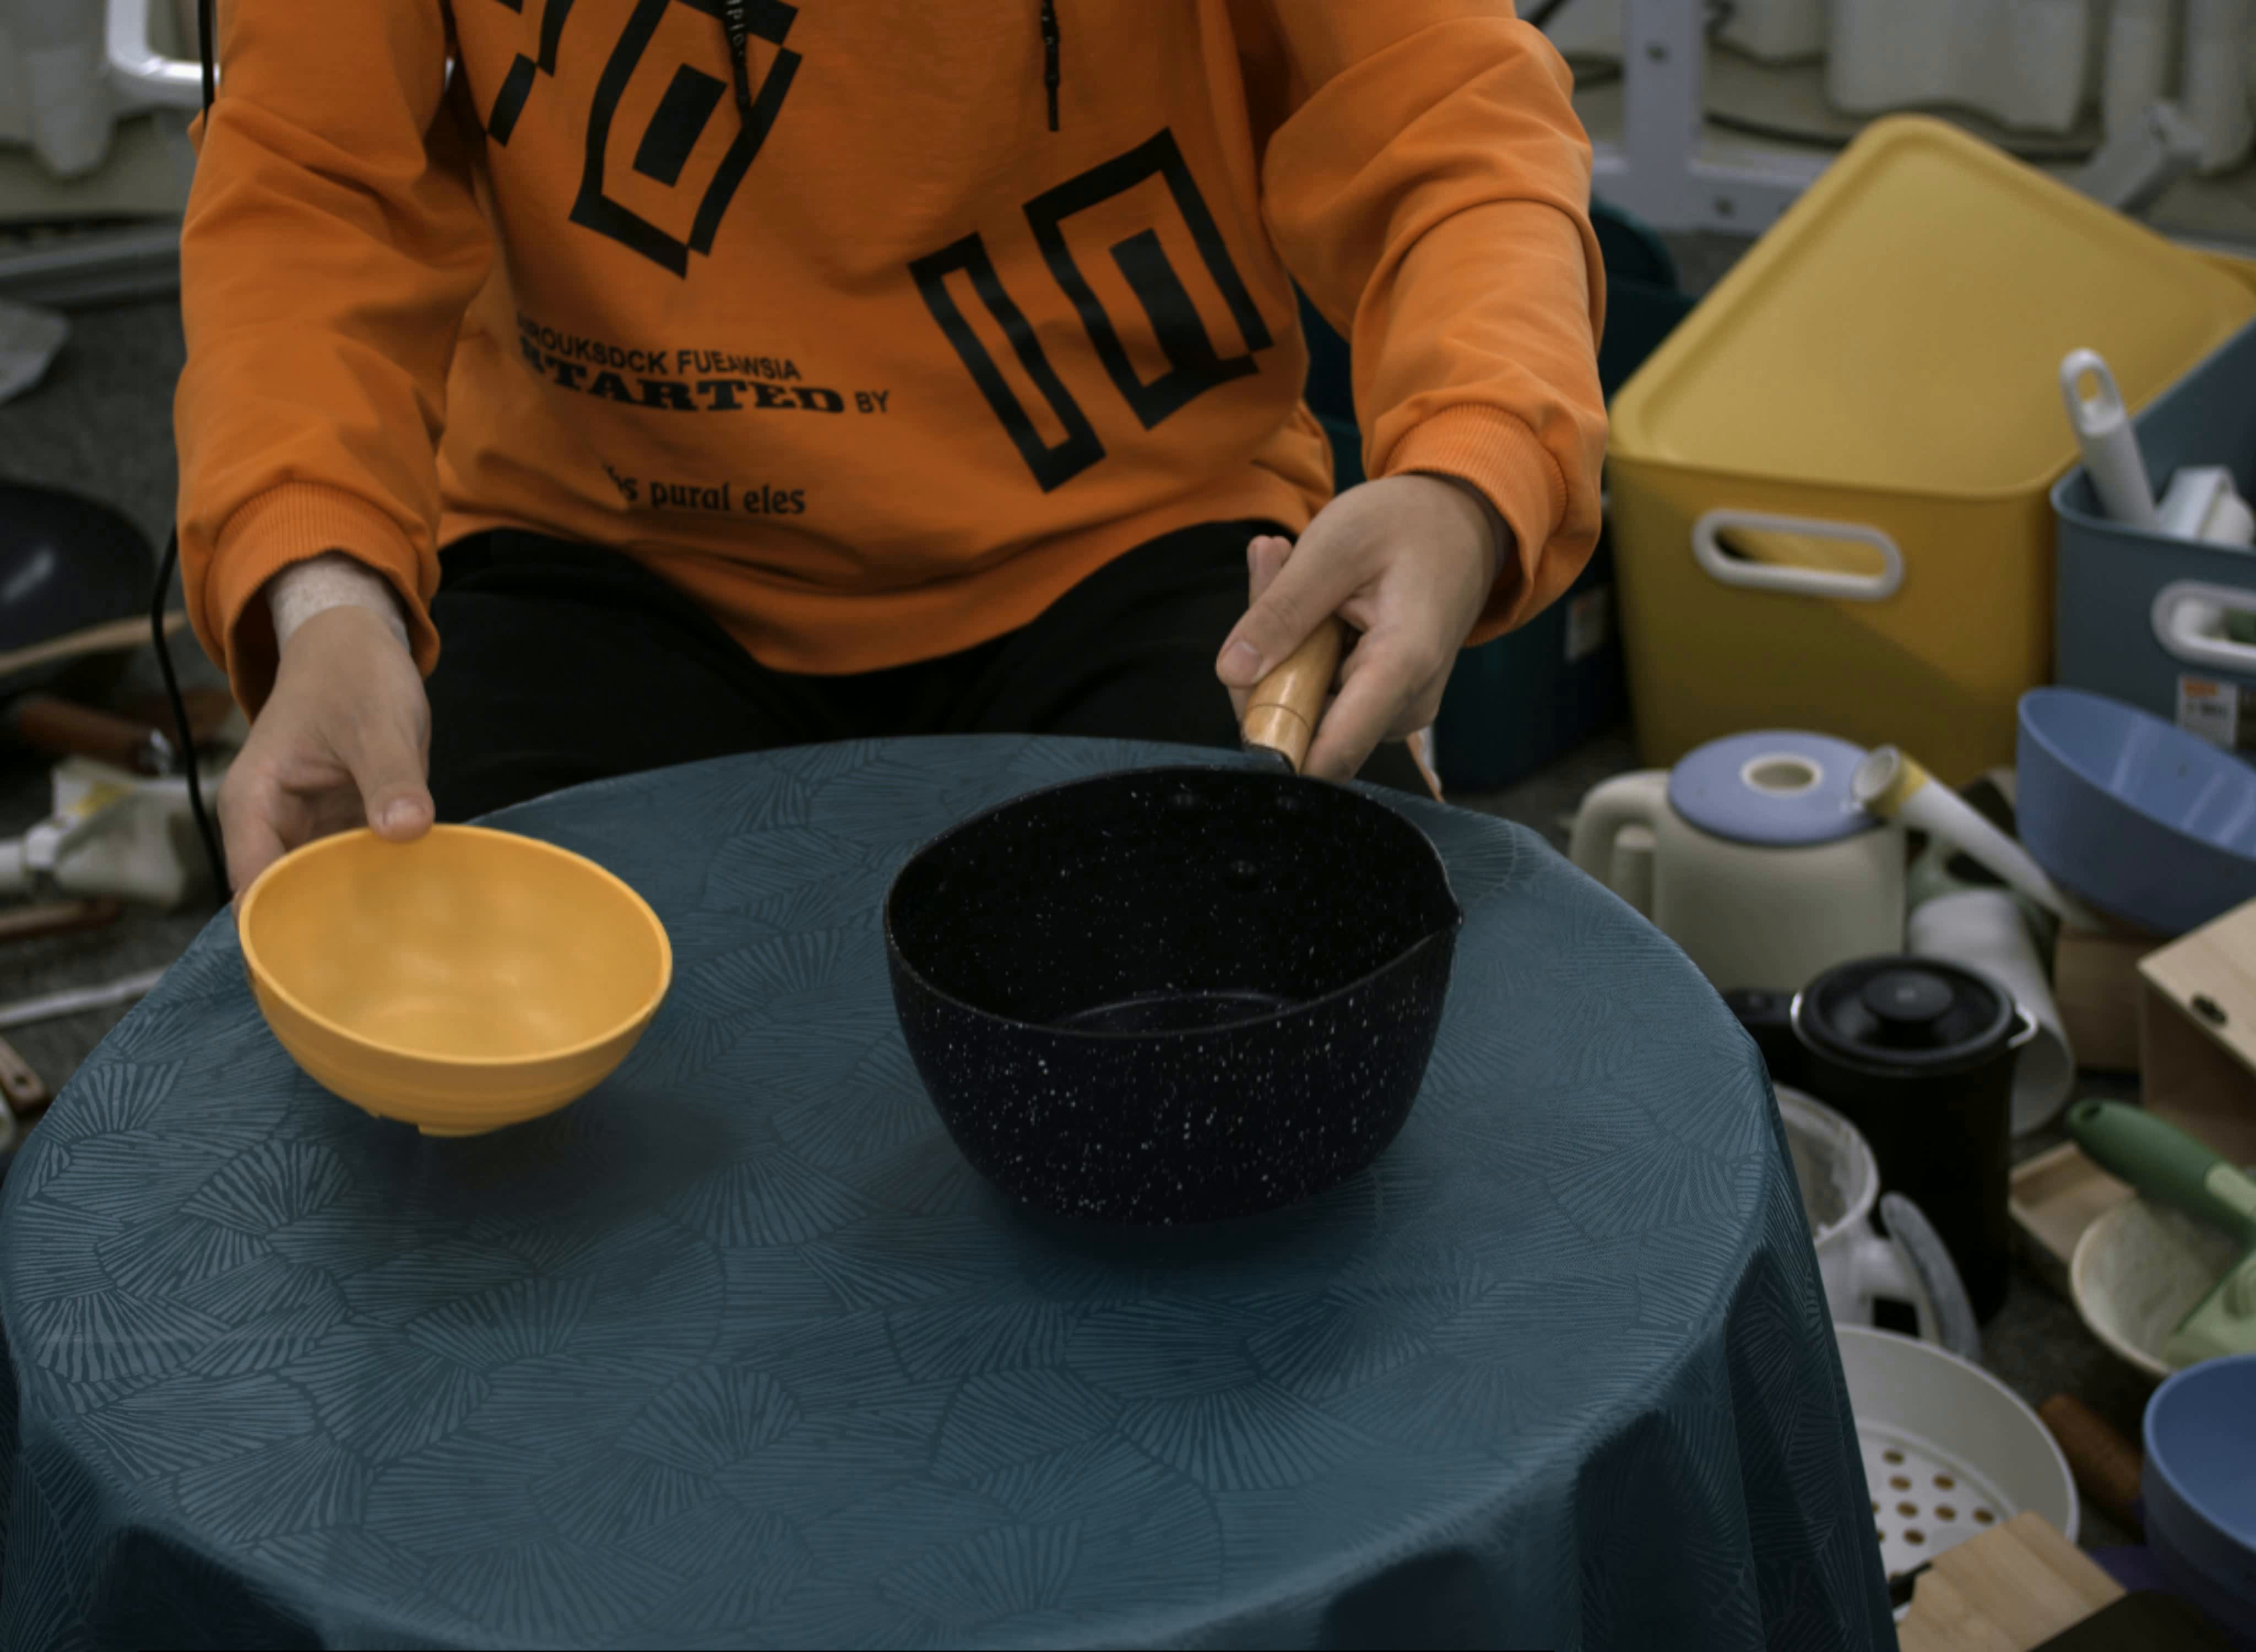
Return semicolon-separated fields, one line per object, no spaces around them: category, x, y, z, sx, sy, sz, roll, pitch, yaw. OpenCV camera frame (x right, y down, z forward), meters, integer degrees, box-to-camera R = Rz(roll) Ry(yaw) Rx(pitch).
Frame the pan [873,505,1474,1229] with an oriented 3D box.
pan;0.035;0.011;1.913;0.206;0.107;0.349;2;29;16

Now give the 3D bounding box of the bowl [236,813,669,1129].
bowl;-0.229;0.059;1.881;0.145;0.059;0.148;10;30;-5
